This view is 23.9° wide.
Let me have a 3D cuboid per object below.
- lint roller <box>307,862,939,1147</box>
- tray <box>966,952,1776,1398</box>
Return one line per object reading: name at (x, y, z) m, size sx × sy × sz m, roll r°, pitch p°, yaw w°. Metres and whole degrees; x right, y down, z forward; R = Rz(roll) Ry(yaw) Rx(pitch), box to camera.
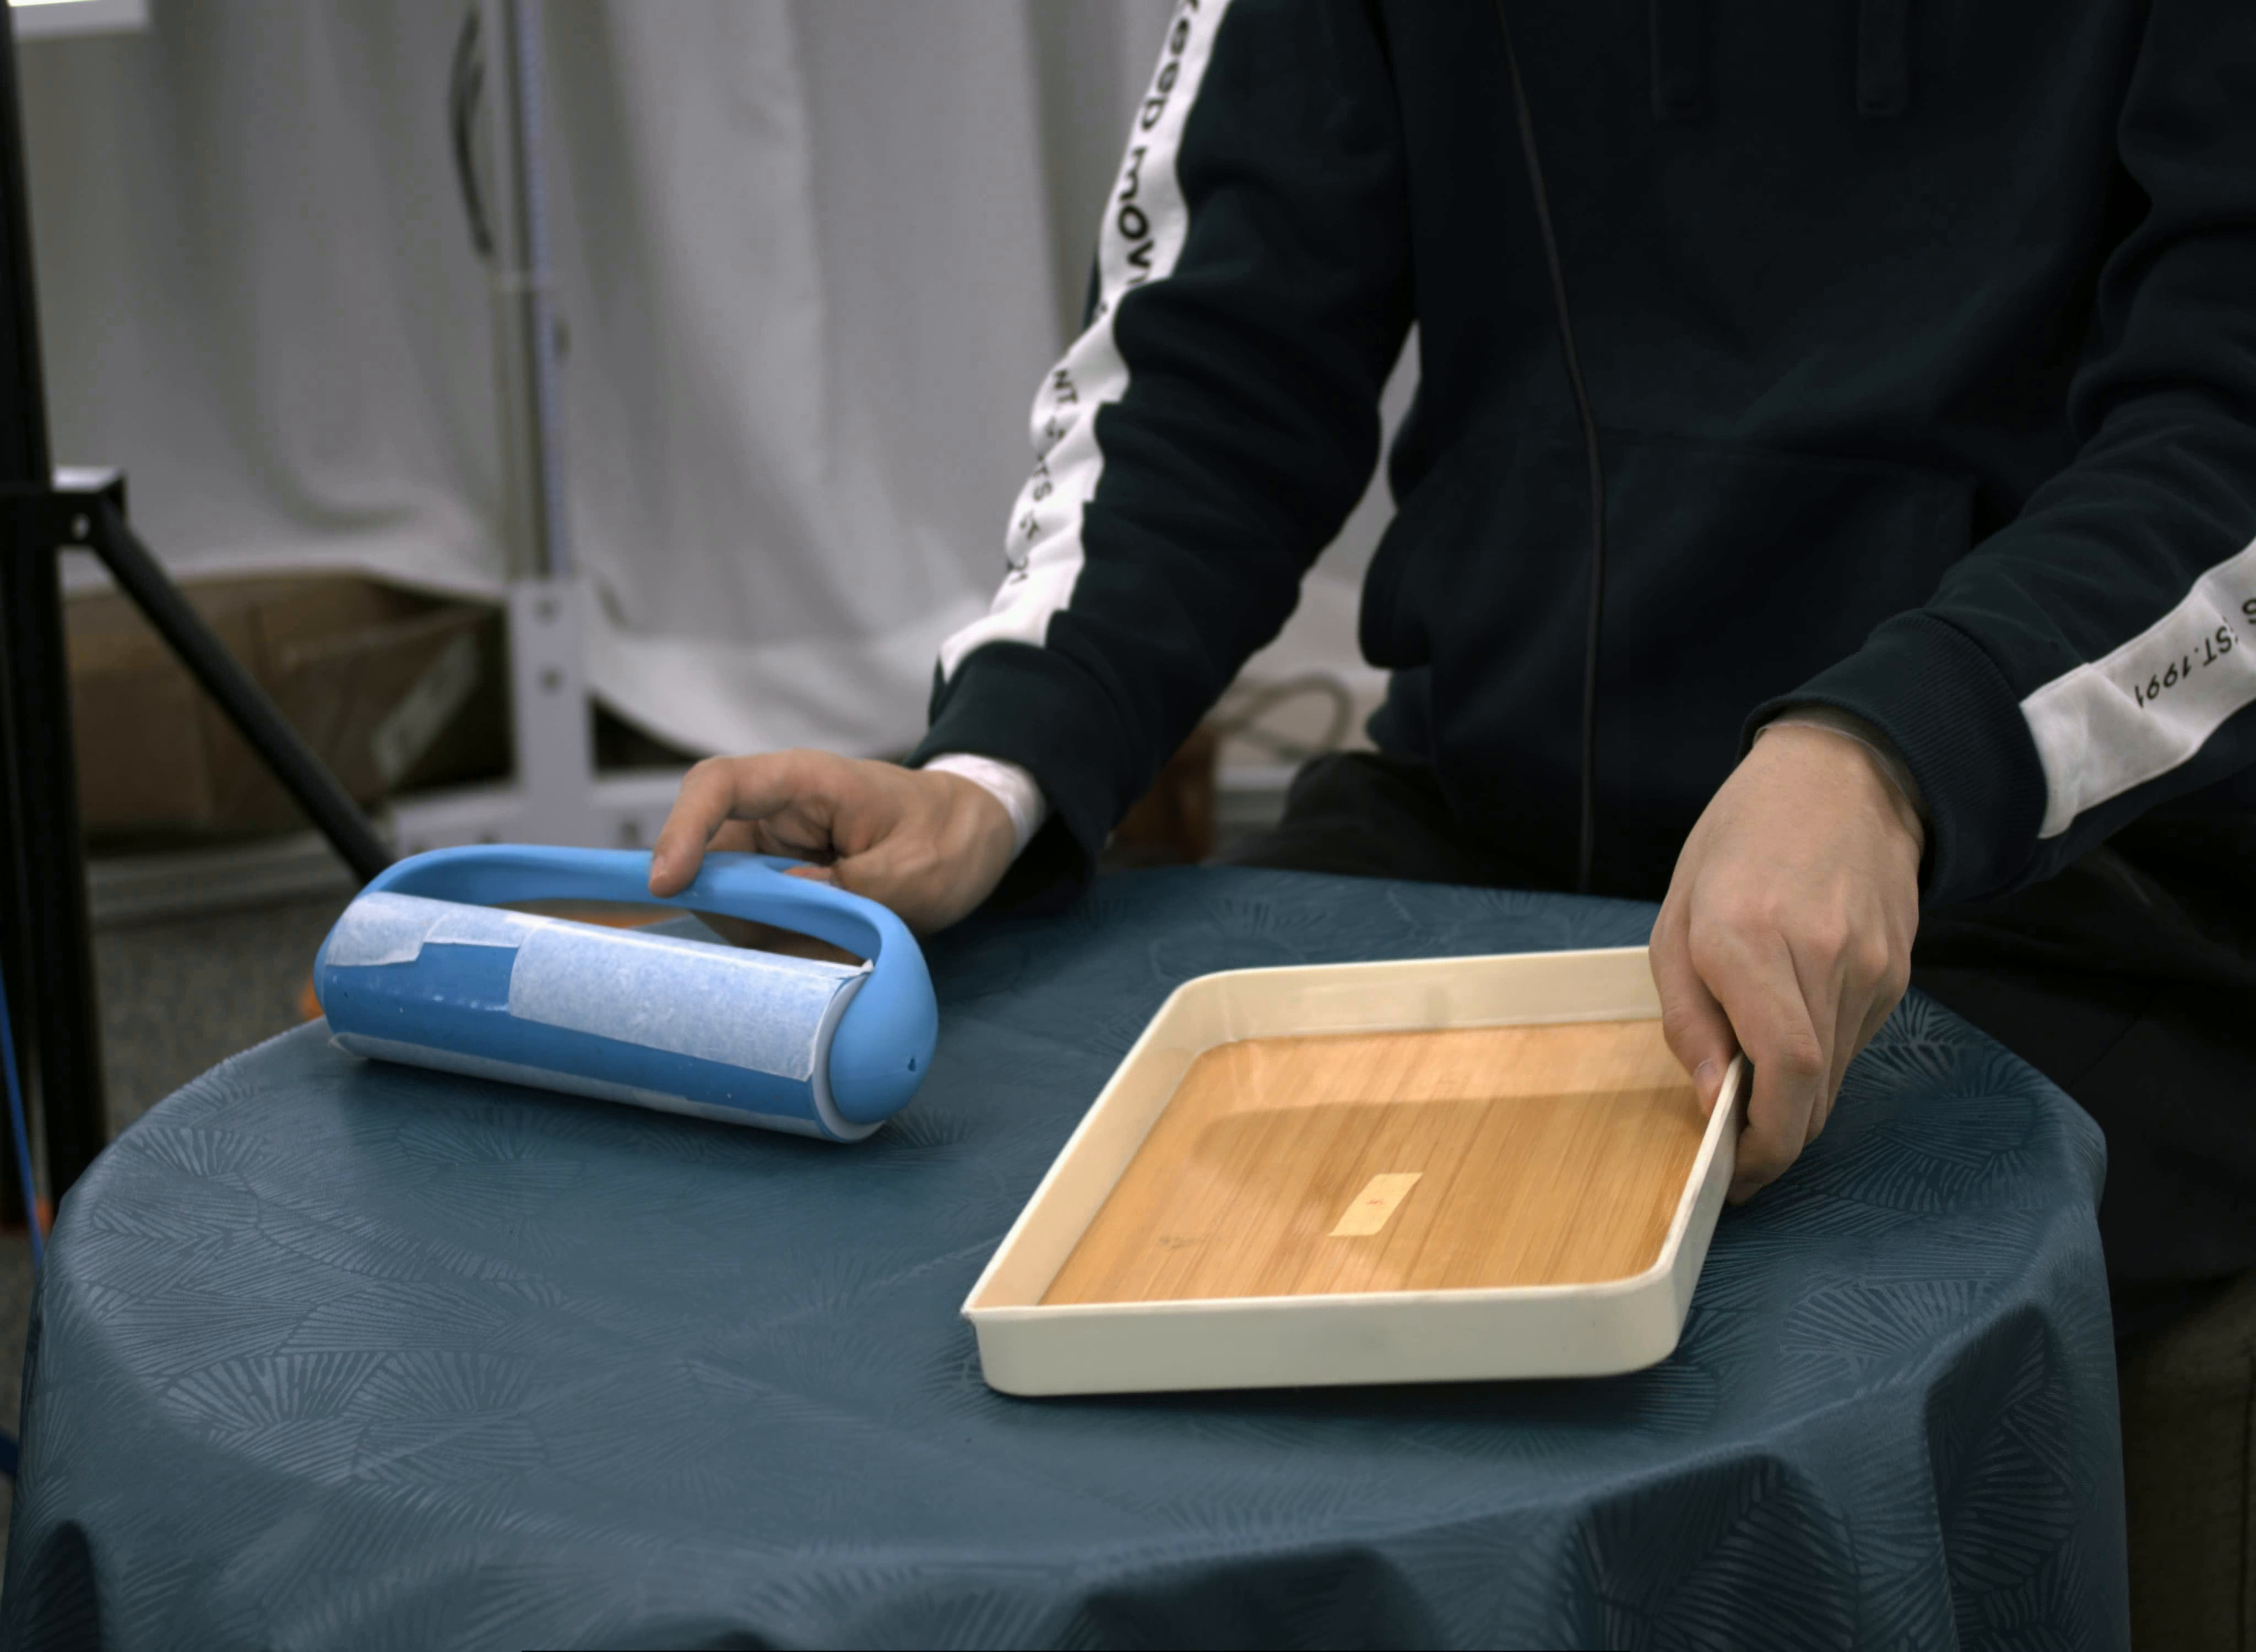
lint roller at (-0.133, 0.044, 1.706) m, size 0.233 × 0.068 × 0.177 m, roll 4°, pitch 19°, yaw 30°
tray at (0.078, 0.096, 1.513) m, size 0.193 × 0.027 × 0.298 m, roll -3°, pitch 15°, yaw 15°
